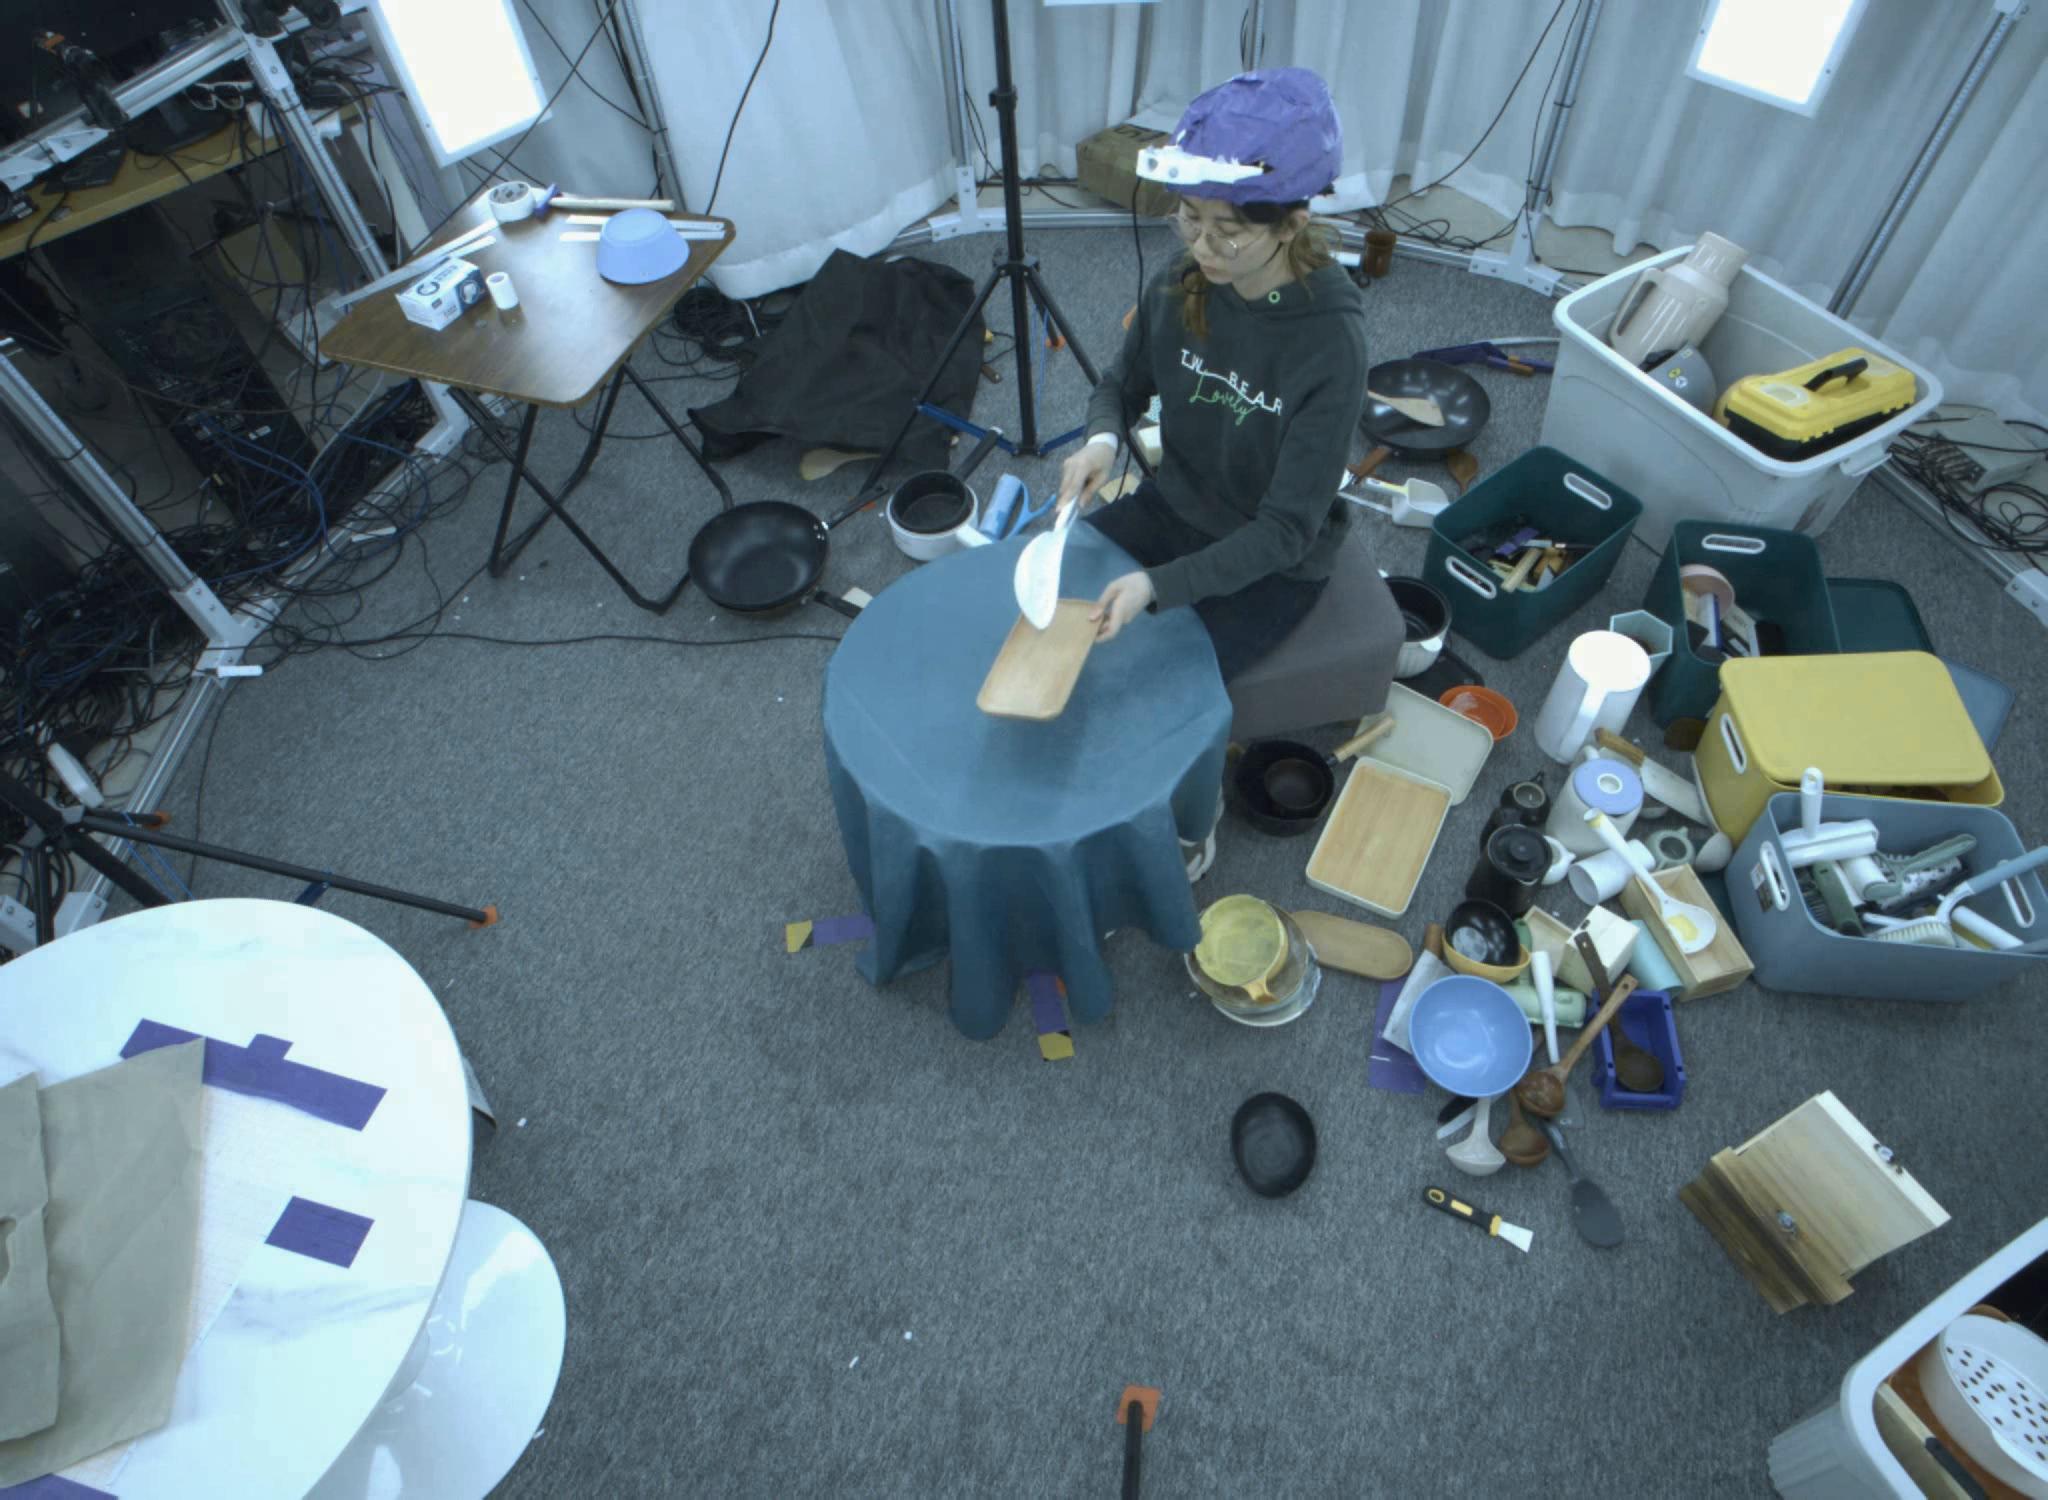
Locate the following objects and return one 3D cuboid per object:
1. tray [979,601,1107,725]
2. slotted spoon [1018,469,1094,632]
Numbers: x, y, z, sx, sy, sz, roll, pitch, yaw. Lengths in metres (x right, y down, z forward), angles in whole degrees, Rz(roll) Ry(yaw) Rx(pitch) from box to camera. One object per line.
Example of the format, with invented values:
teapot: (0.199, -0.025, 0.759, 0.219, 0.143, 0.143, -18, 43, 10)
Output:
tray: (0.030, -0.128, 1.757, 0.129, 0.023, 0.250, 10, 48, 18)
slotted spoon: (0.054, -0.316, 1.835, 0.045, 0.138, 0.349, 10, 49, 20)
